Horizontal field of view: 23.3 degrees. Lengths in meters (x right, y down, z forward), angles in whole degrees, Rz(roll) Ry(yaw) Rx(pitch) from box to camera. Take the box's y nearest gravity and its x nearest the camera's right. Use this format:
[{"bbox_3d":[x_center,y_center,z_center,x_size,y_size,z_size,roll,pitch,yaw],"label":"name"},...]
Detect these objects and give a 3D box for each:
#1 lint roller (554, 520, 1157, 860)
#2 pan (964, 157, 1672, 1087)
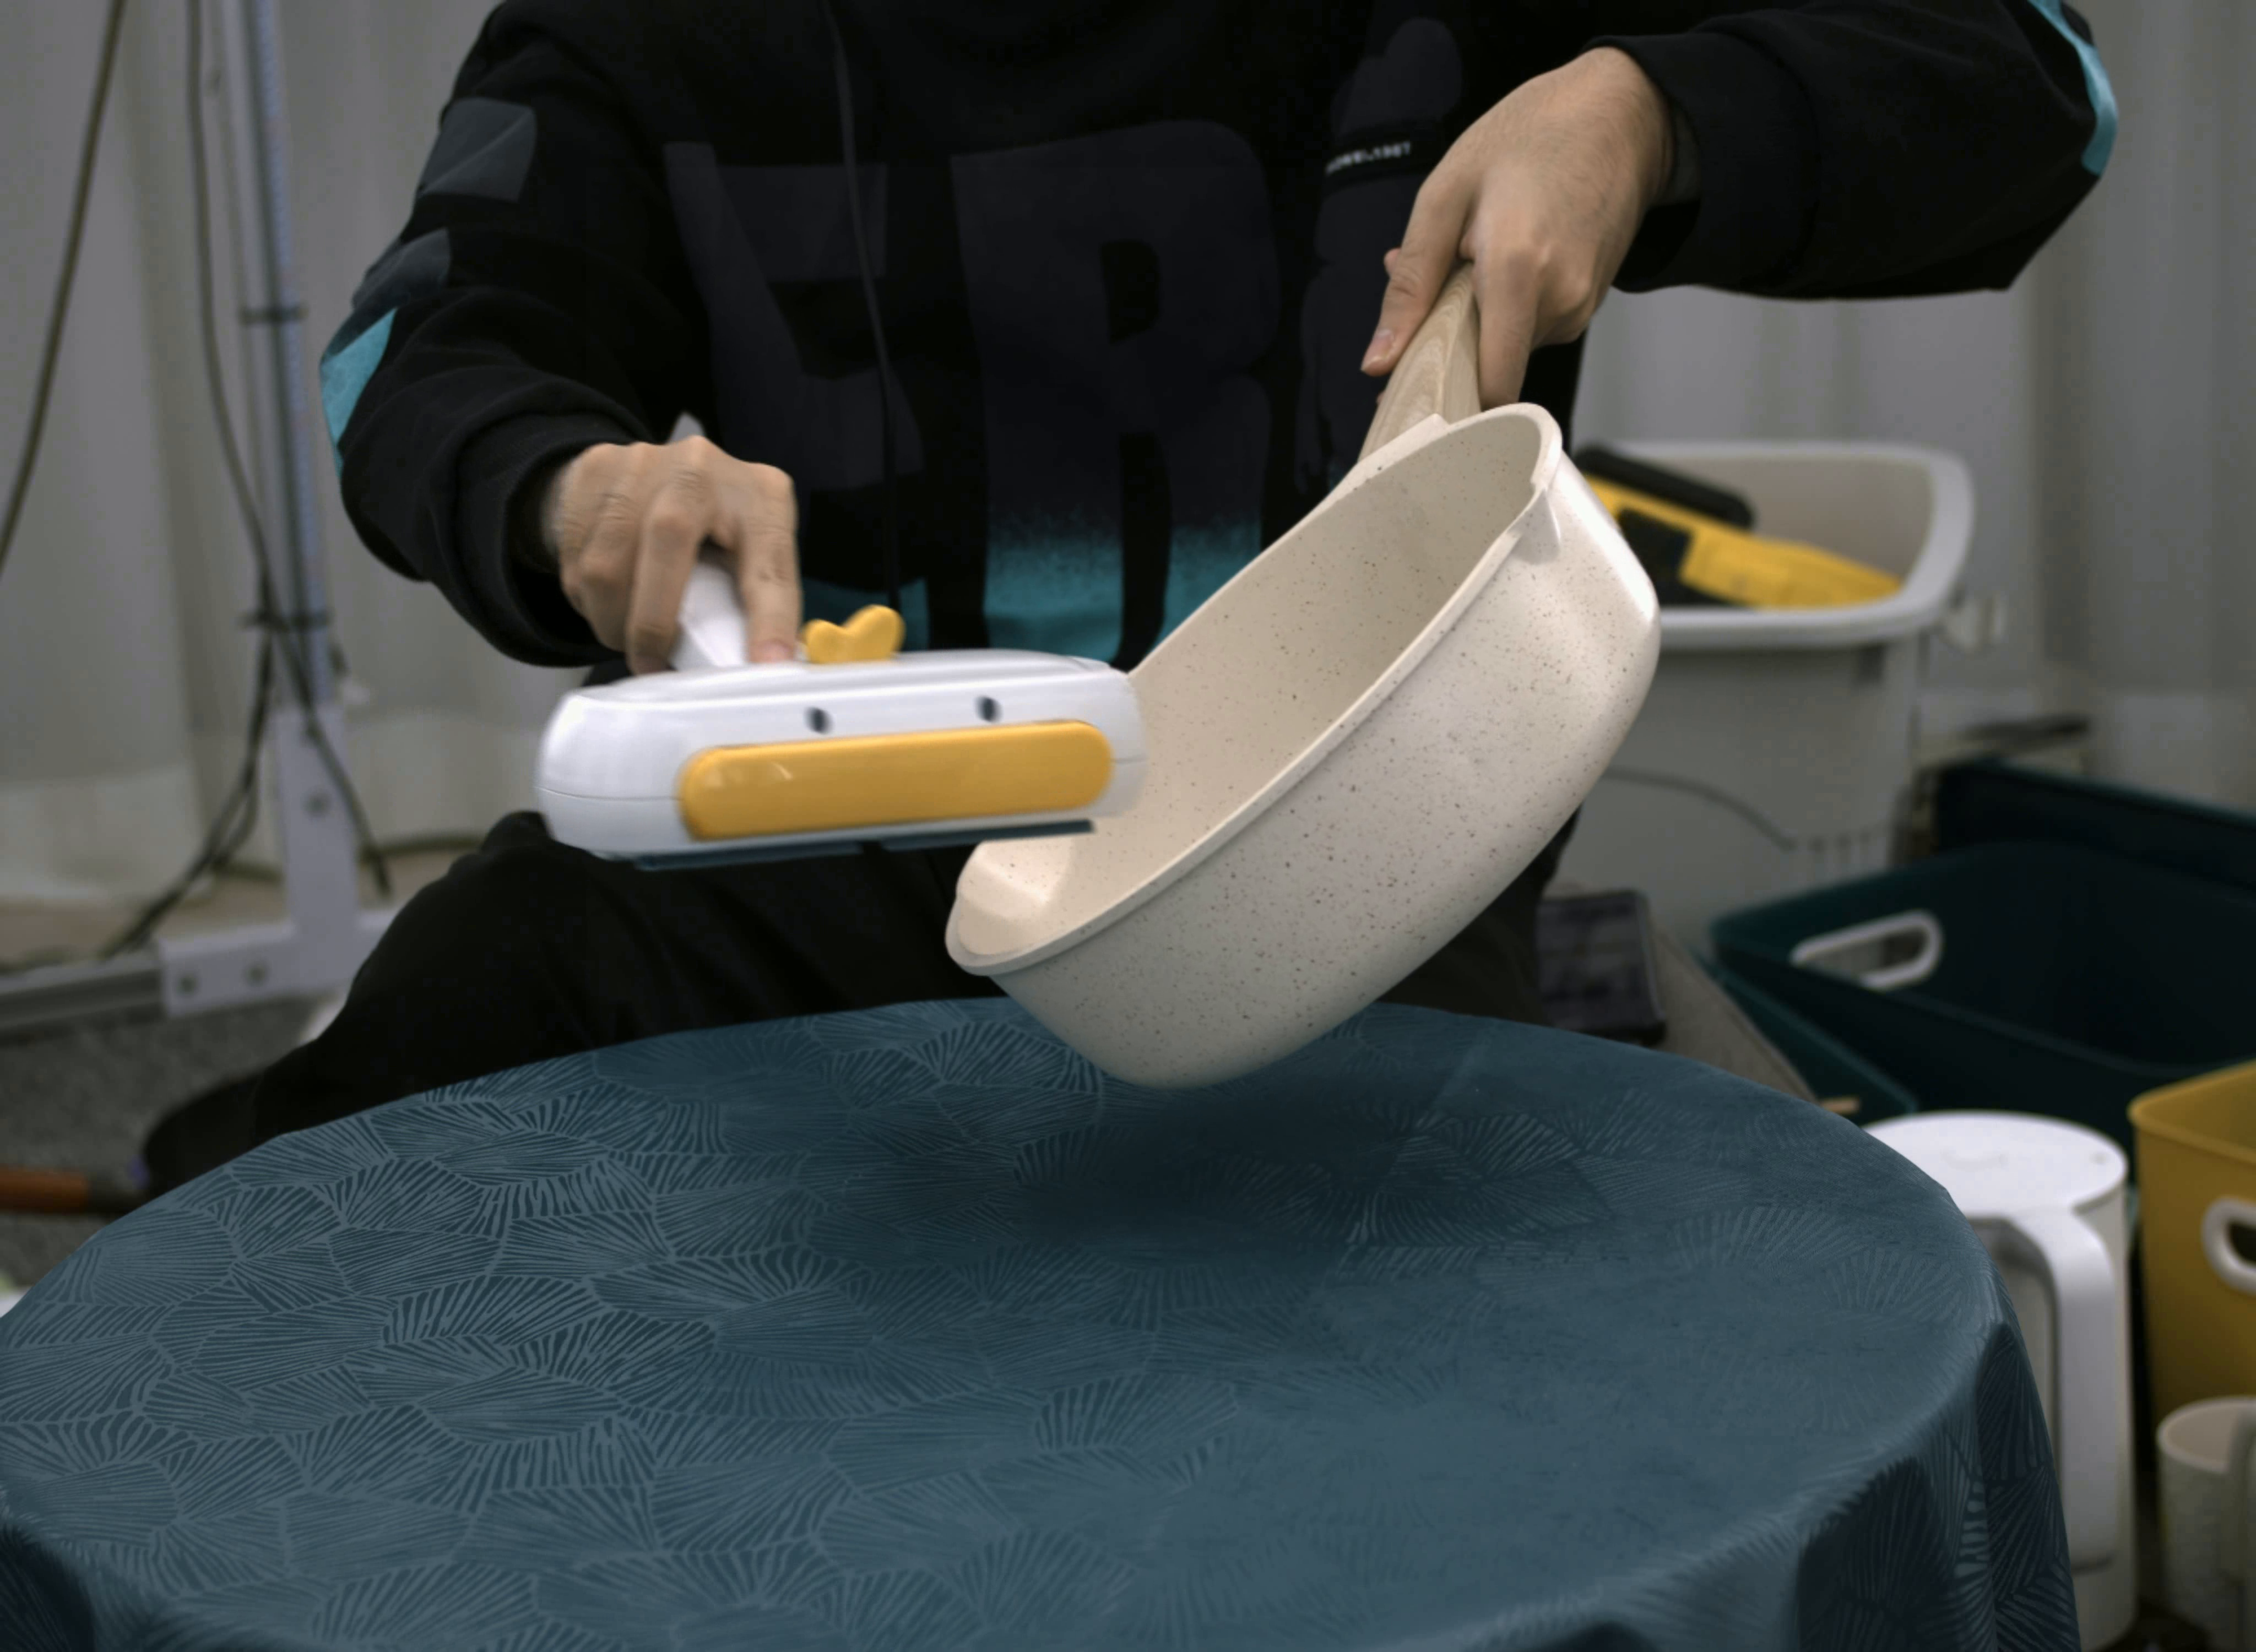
[{"bbox_3d":[-0.113,-0.046,1.695,0.192,0.074,0.194,-11,21,-32],"label":"lint roller"},{"bbox_3d":[0.093,-0.077,1.775,0.262,0.101,0.439,-35,15,39],"label":"pan"}]
